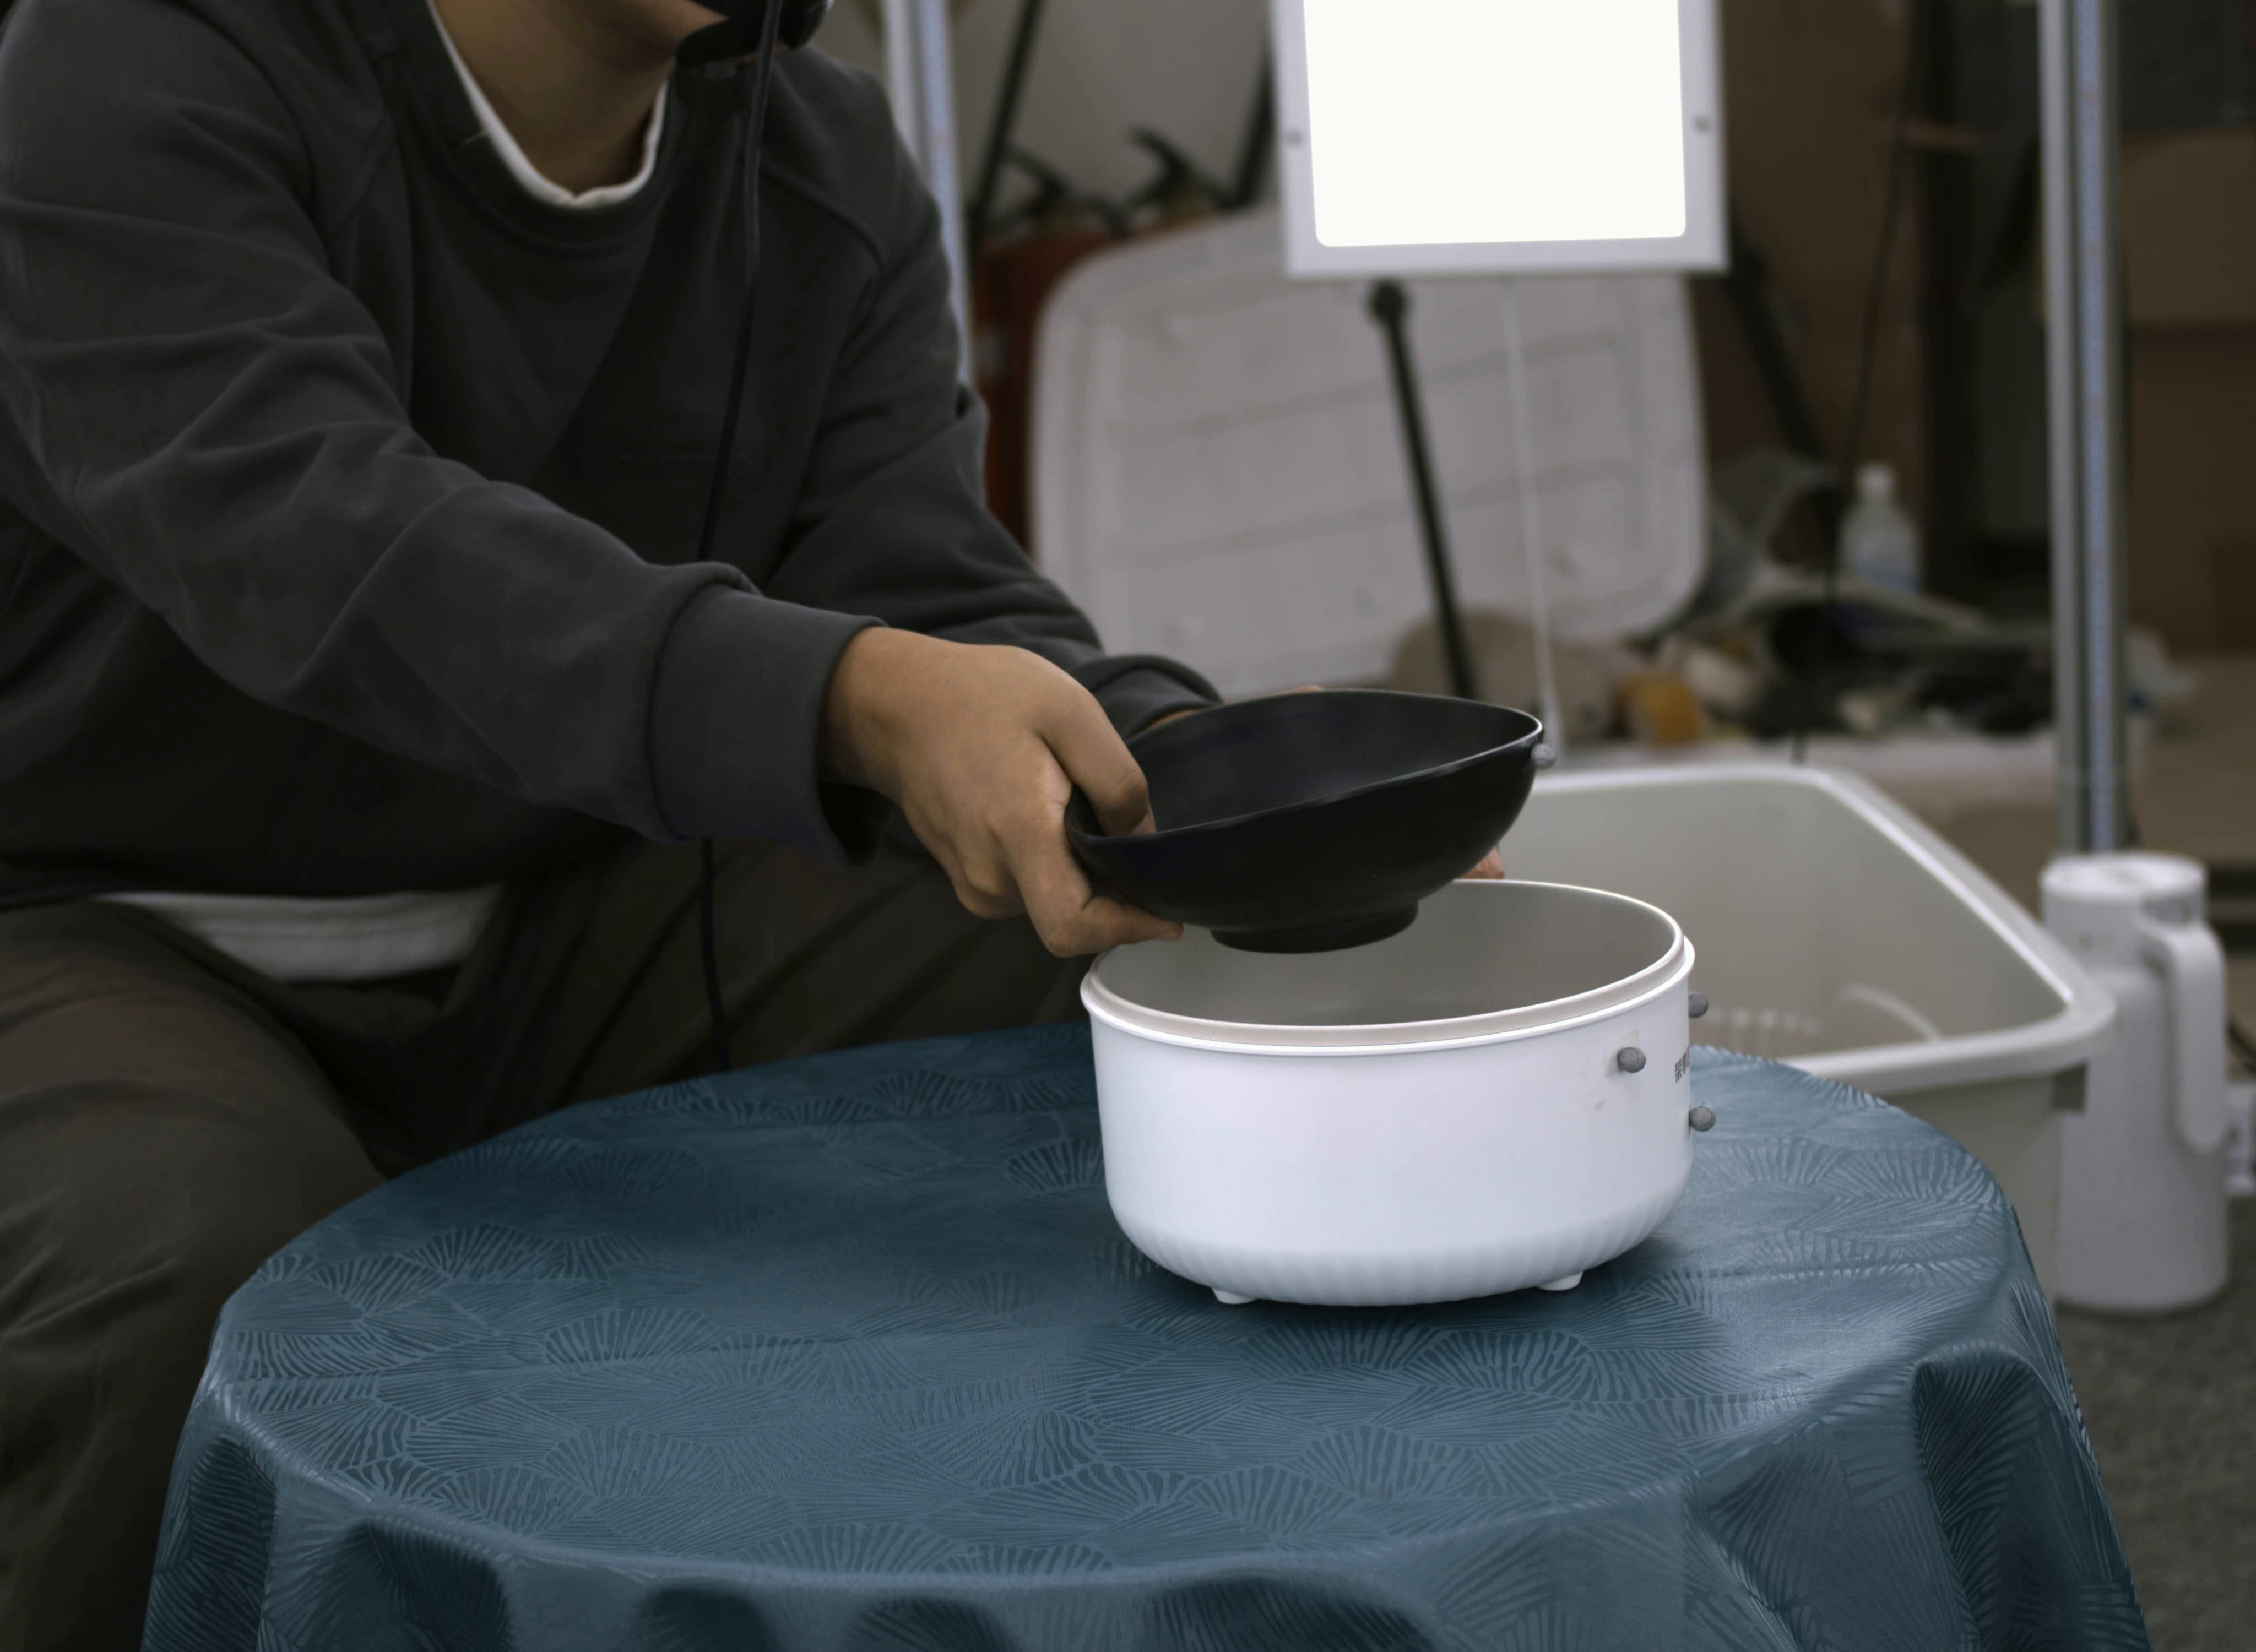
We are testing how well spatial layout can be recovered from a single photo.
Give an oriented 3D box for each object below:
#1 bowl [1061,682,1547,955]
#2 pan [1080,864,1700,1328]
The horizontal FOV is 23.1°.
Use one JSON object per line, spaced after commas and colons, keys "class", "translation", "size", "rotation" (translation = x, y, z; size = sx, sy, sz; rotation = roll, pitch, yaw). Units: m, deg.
{"class": "bowl", "translation": [0.062, 0.002, 1.817], "size": [0.166, 0.067, 0.140], "rotation": [-15, 16, -26]}
{"class": "pan", "translation": [0.095, 0.081, 1.878], "size": [0.202, 0.102, 0.352], "rotation": [-7, 10, 7]}
